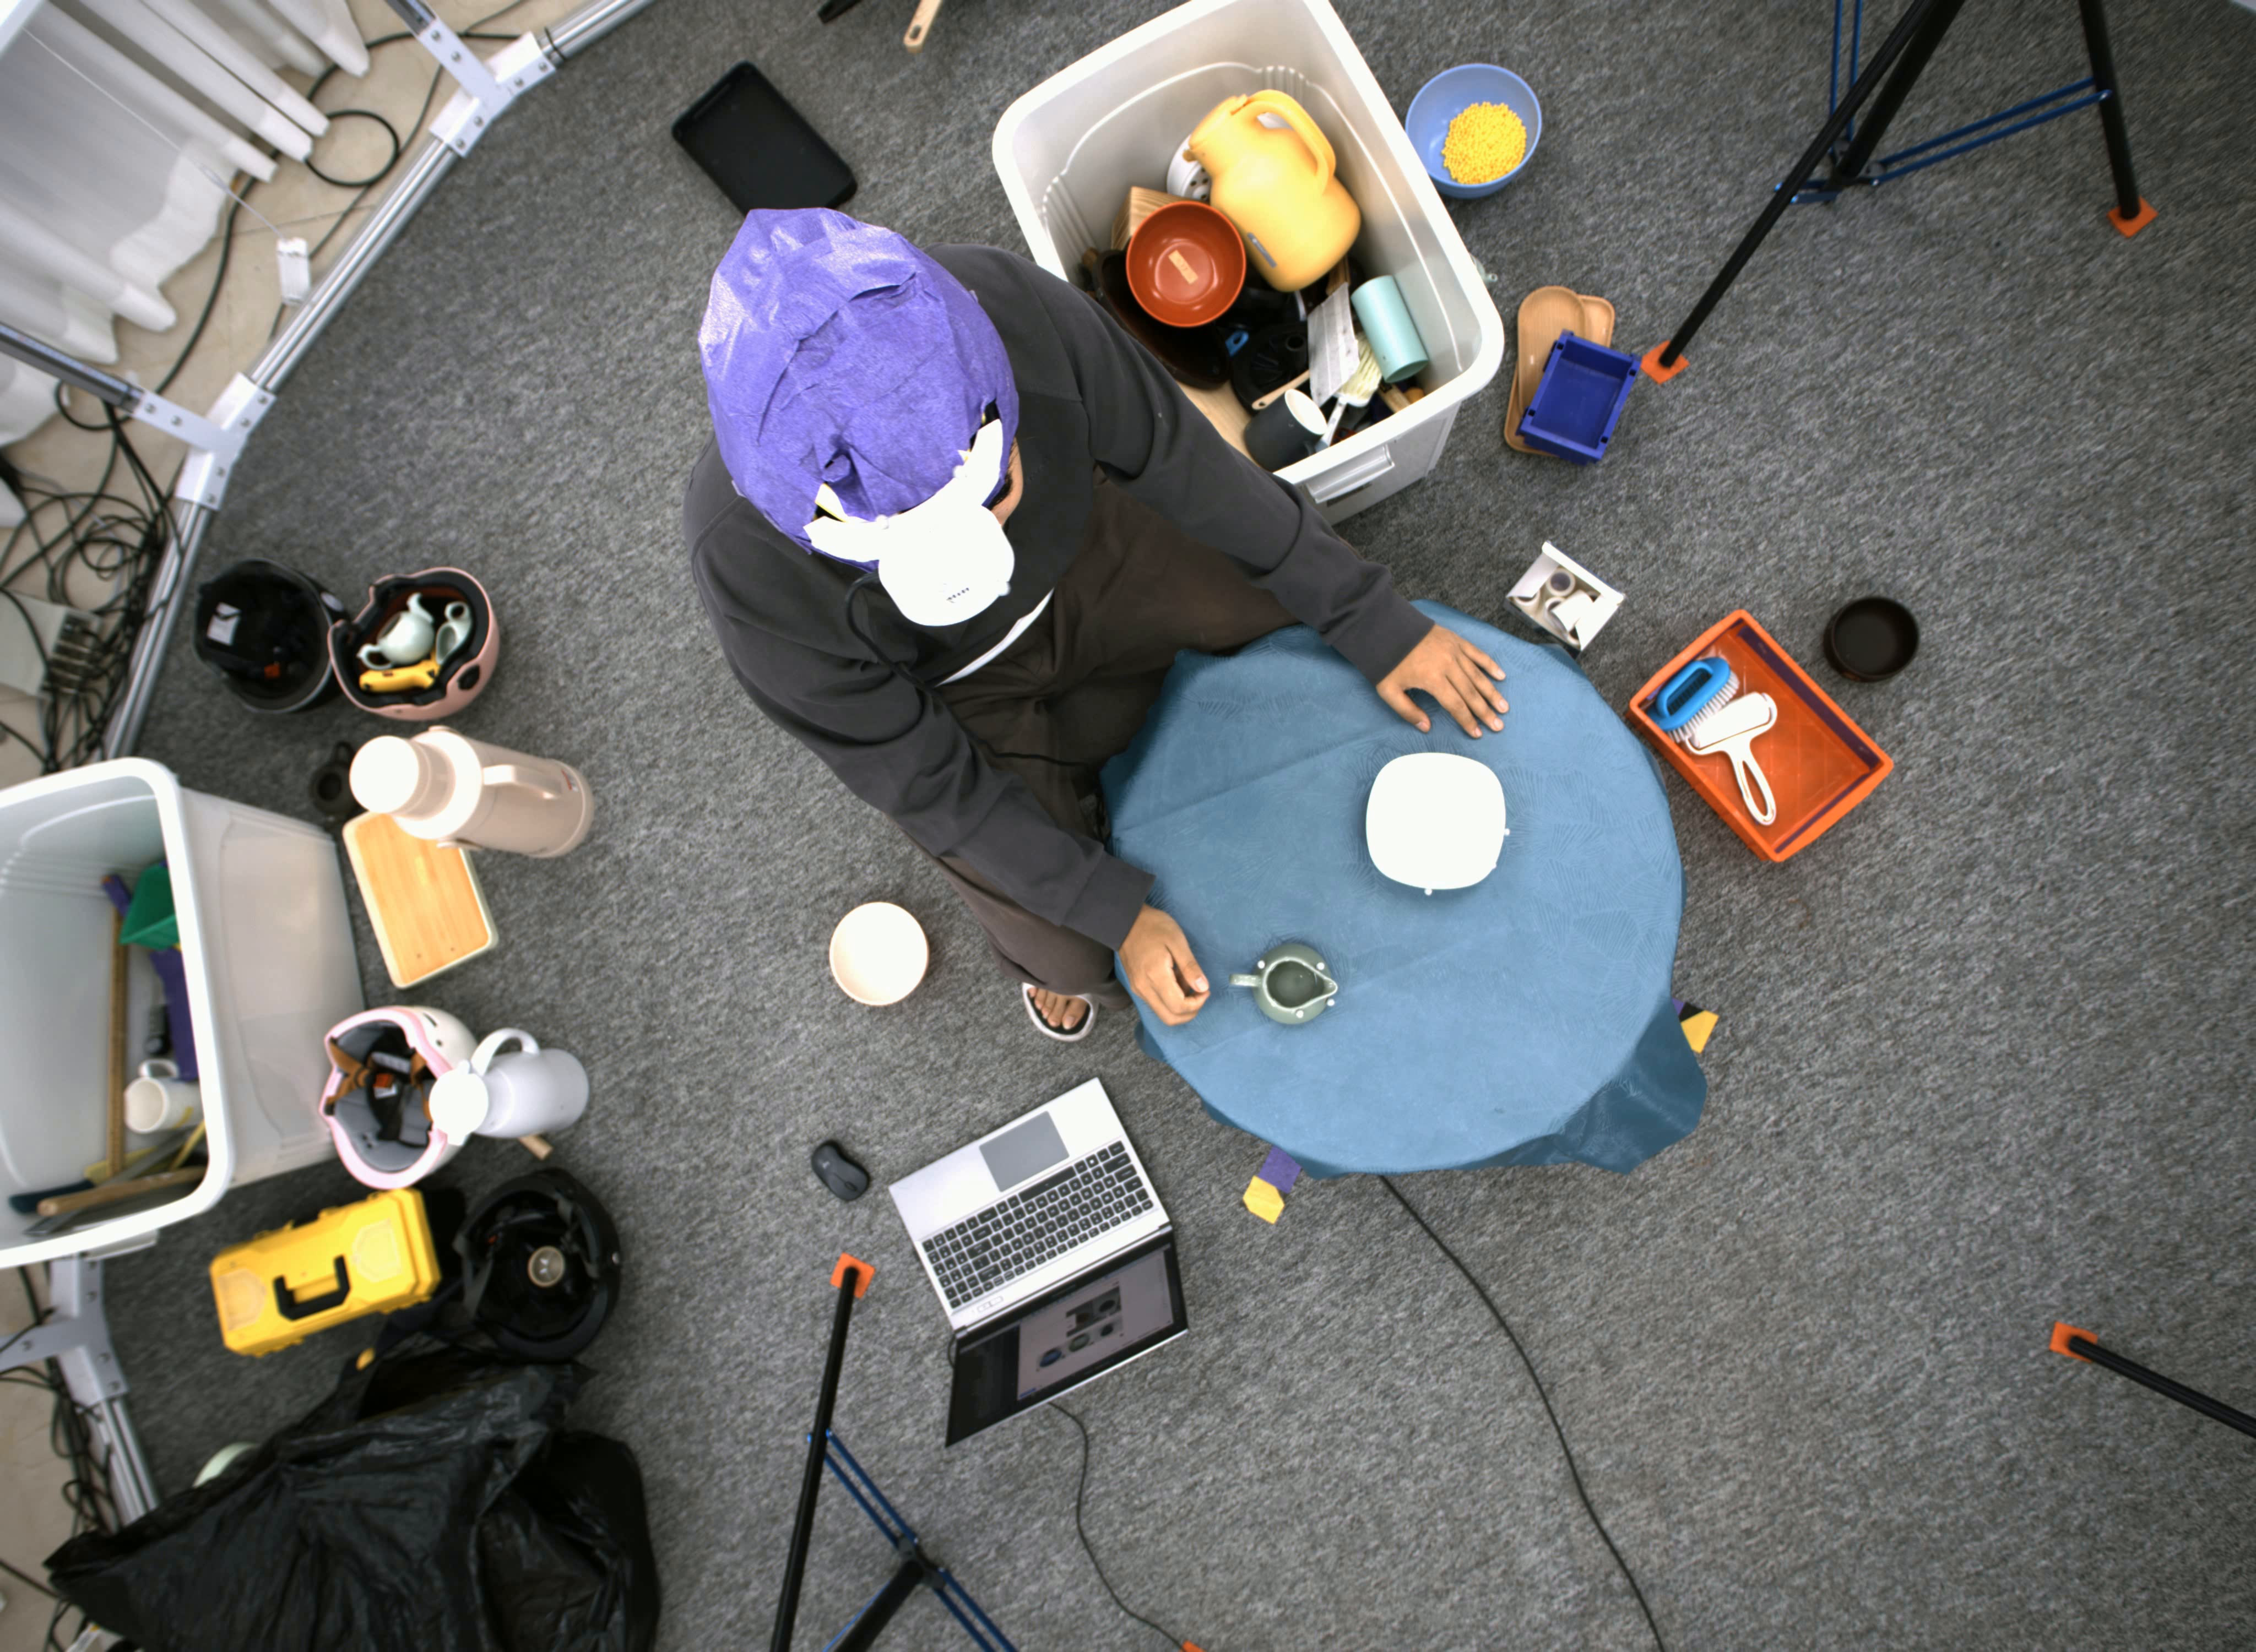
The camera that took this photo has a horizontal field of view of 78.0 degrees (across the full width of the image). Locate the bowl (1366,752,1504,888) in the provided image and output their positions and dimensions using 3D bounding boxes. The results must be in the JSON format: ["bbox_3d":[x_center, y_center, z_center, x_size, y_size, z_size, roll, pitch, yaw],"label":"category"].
[{"bbox_3d":[0.317,-0.006,1.428,0.152,0.058,0.151,-1,87,9],"label":"bowl"}]

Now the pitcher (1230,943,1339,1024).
[{"bbox_3d":[0.165,0.163,1.448,0.113,0.056,0.084,1,85,12],"label":"pitcher"}]
